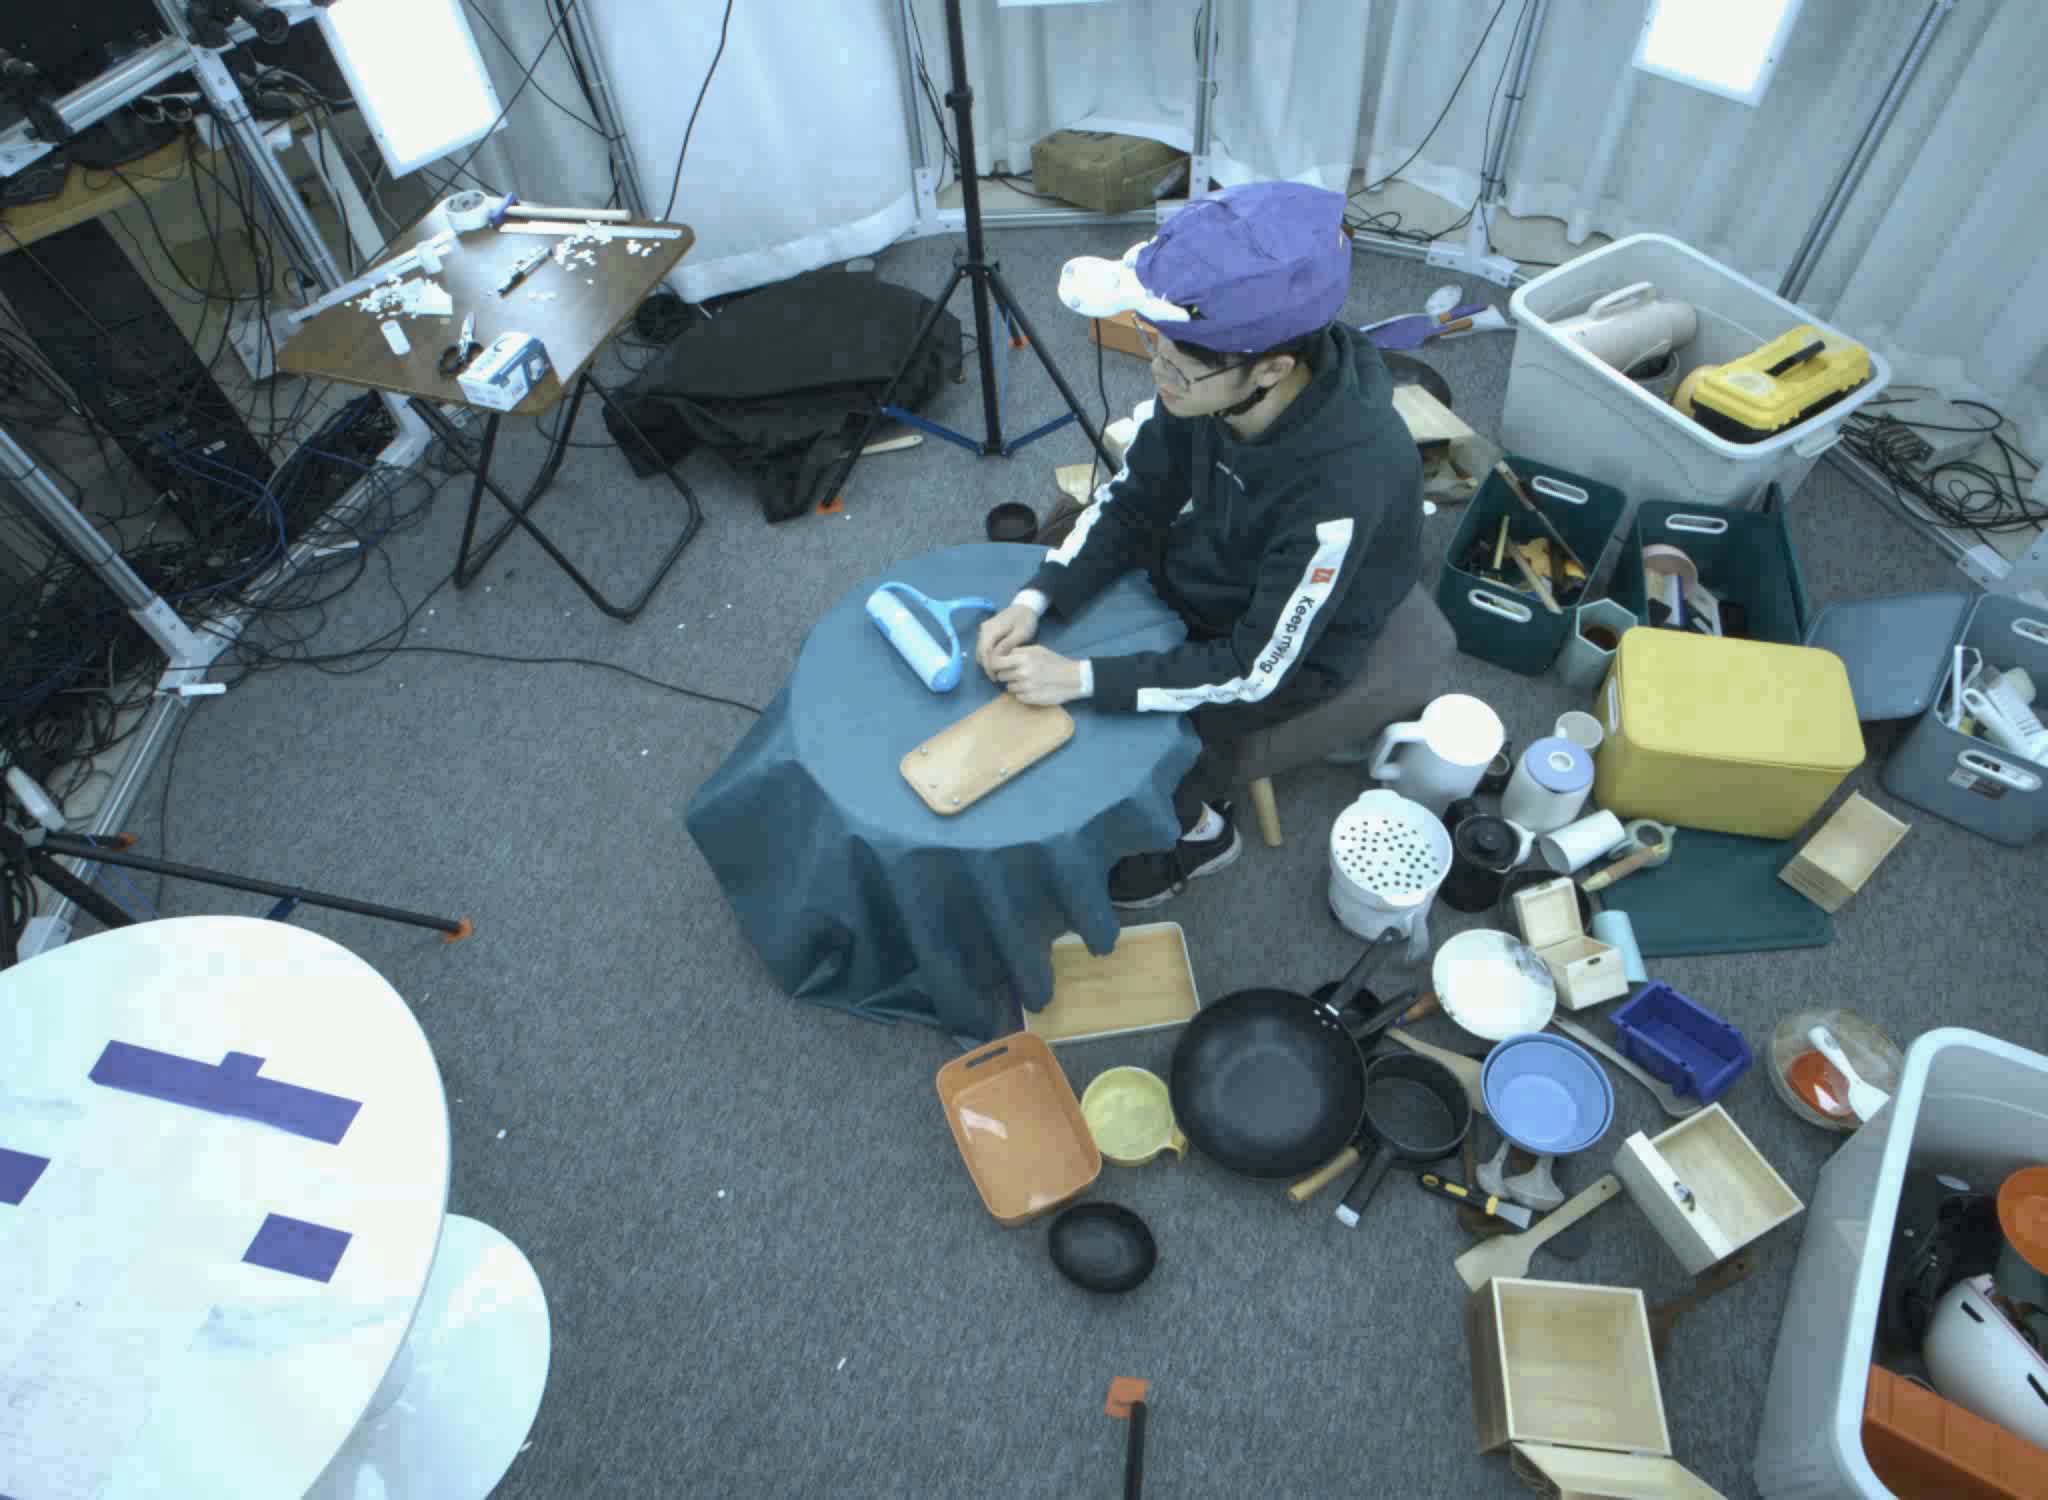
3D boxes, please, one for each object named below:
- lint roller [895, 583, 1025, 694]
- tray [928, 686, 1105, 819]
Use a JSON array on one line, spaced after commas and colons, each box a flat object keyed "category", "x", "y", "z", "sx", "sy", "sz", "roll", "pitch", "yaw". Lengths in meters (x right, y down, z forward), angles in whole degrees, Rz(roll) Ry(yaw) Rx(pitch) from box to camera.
[{"category": "lint roller", "x": -0.079, "y": -0.197, "z": 1.890, "sx": 0.181, "sy": 0.069, "sz": 0.224, "roll": -32, "pitch": 58, "yaw": -18}, {"category": "tray", "x": -0.010, "y": 0.002, "z": 1.771, "sx": 0.253, "sy": 0.023, "sz": 0.128, "roll": -30, "pitch": 61, "yaw": -19}]
